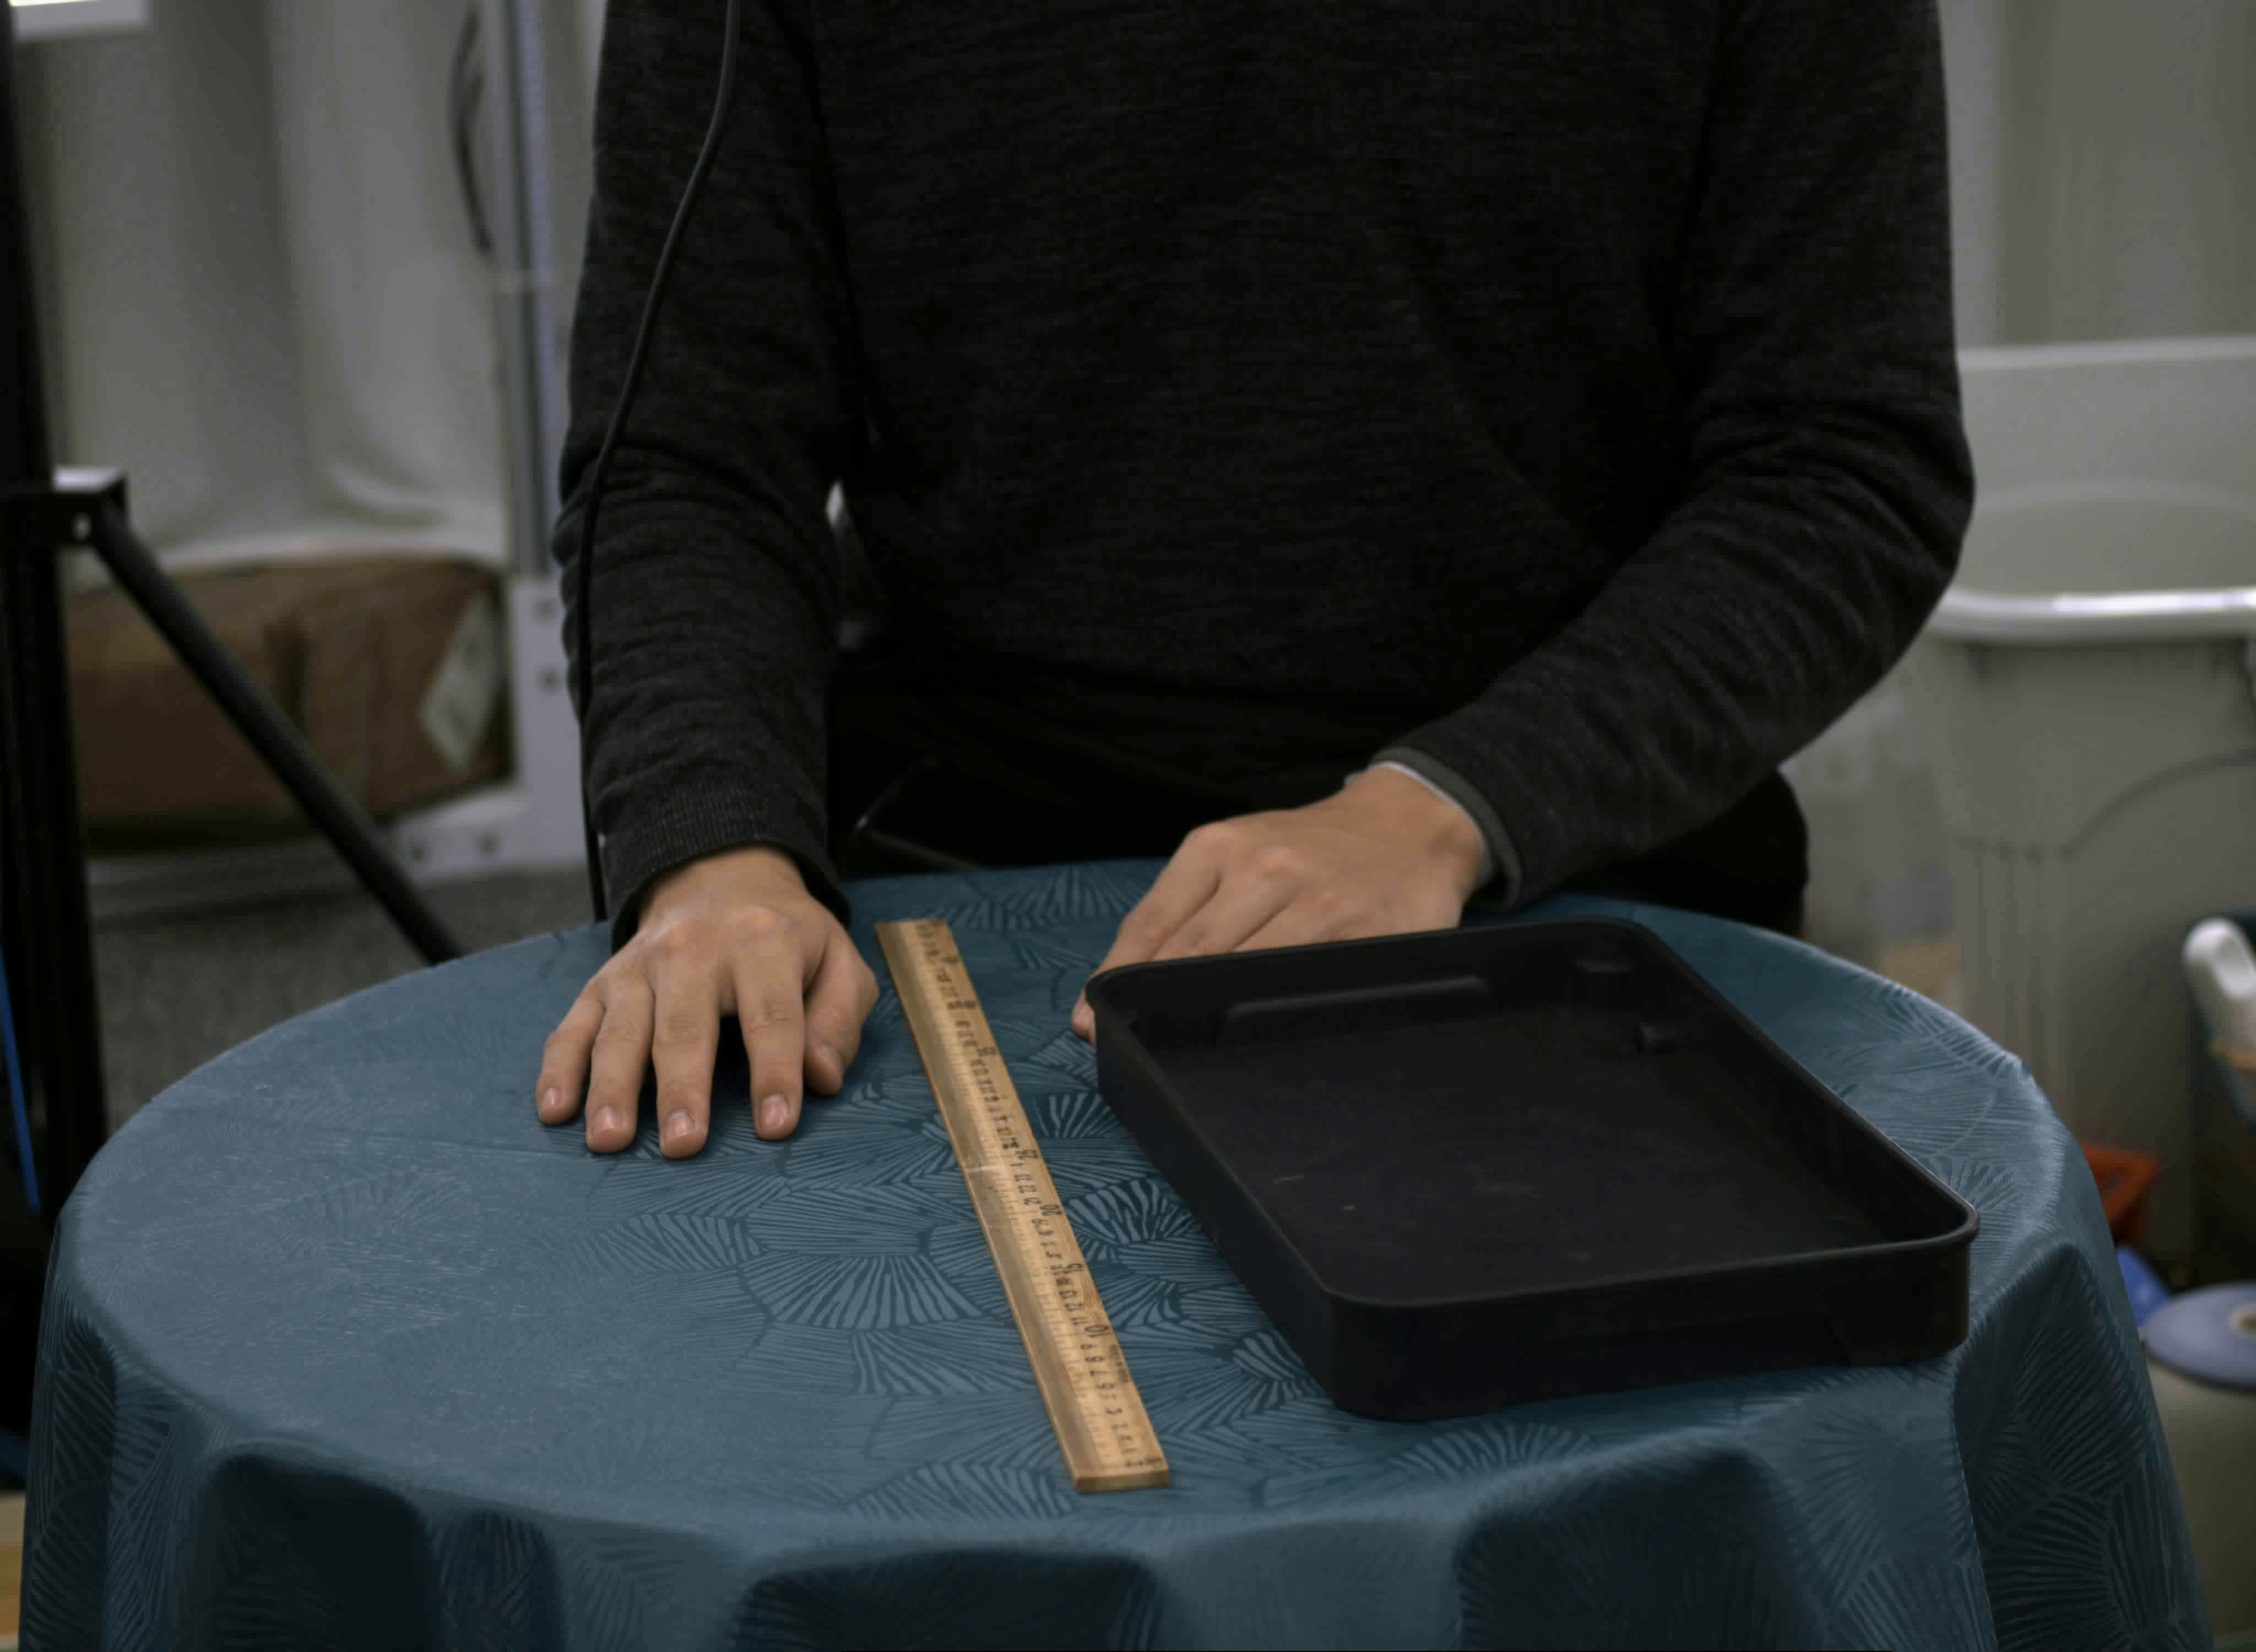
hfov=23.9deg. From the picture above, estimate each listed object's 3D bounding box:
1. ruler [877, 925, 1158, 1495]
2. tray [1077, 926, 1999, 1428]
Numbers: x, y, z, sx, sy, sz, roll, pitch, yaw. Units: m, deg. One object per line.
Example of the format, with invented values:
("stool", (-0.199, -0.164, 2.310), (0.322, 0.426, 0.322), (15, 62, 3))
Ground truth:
("ruler", (-0.038, 0.101, 1.579), (0.026, 0.006, 0.505), (-2, 15, -8))
("tray", (0.109, 0.095, 1.523), (0.181, 0.037, 0.322), (-6, 15, -13))
